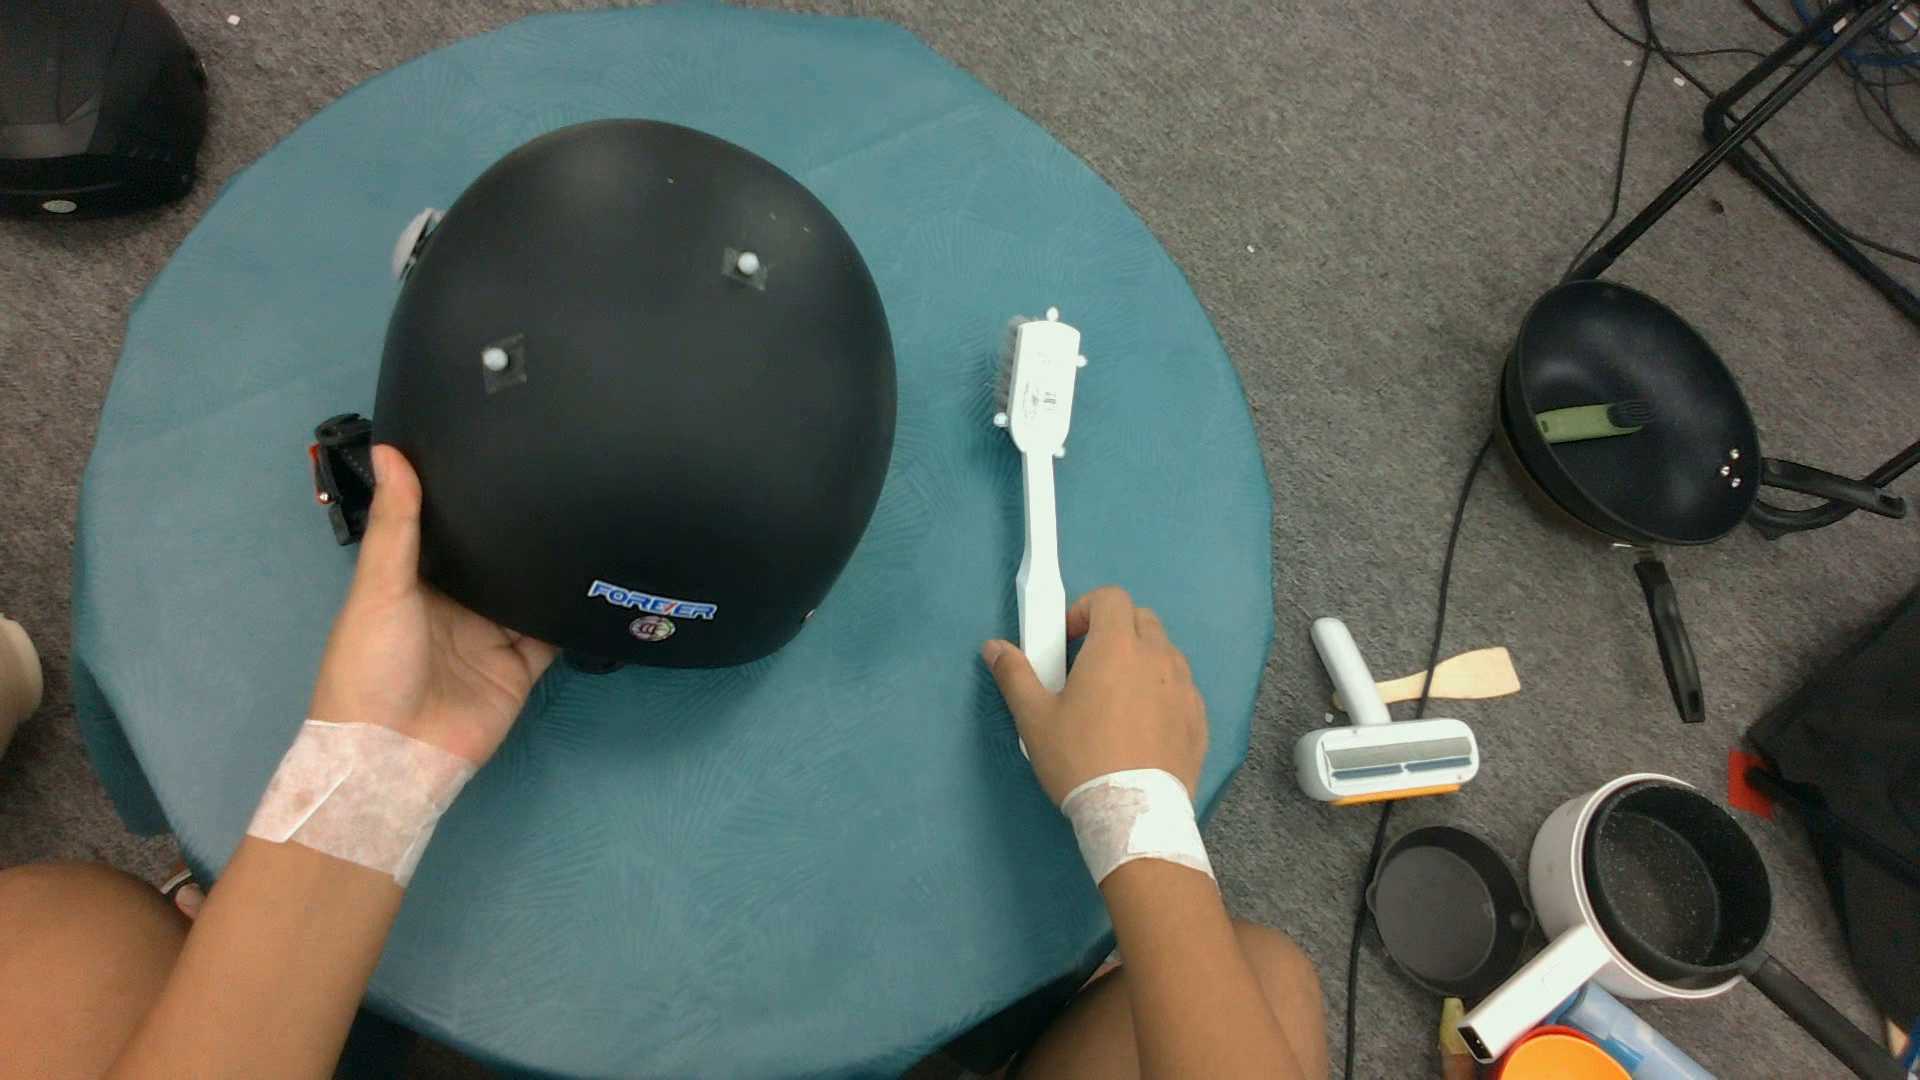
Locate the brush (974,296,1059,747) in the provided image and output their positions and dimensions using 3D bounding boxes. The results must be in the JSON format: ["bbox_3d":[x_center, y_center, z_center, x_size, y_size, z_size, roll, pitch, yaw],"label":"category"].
[{"bbox_3d":[0.031,-0.014,0.728,0.034,0.050,0.244,2,81,-19],"label":"brush"}]

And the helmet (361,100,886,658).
[{"bbox_3d":[-0.133,-0.093,0.611,0.230,0.166,0.274,18,51,-27],"label":"helmet"}]
